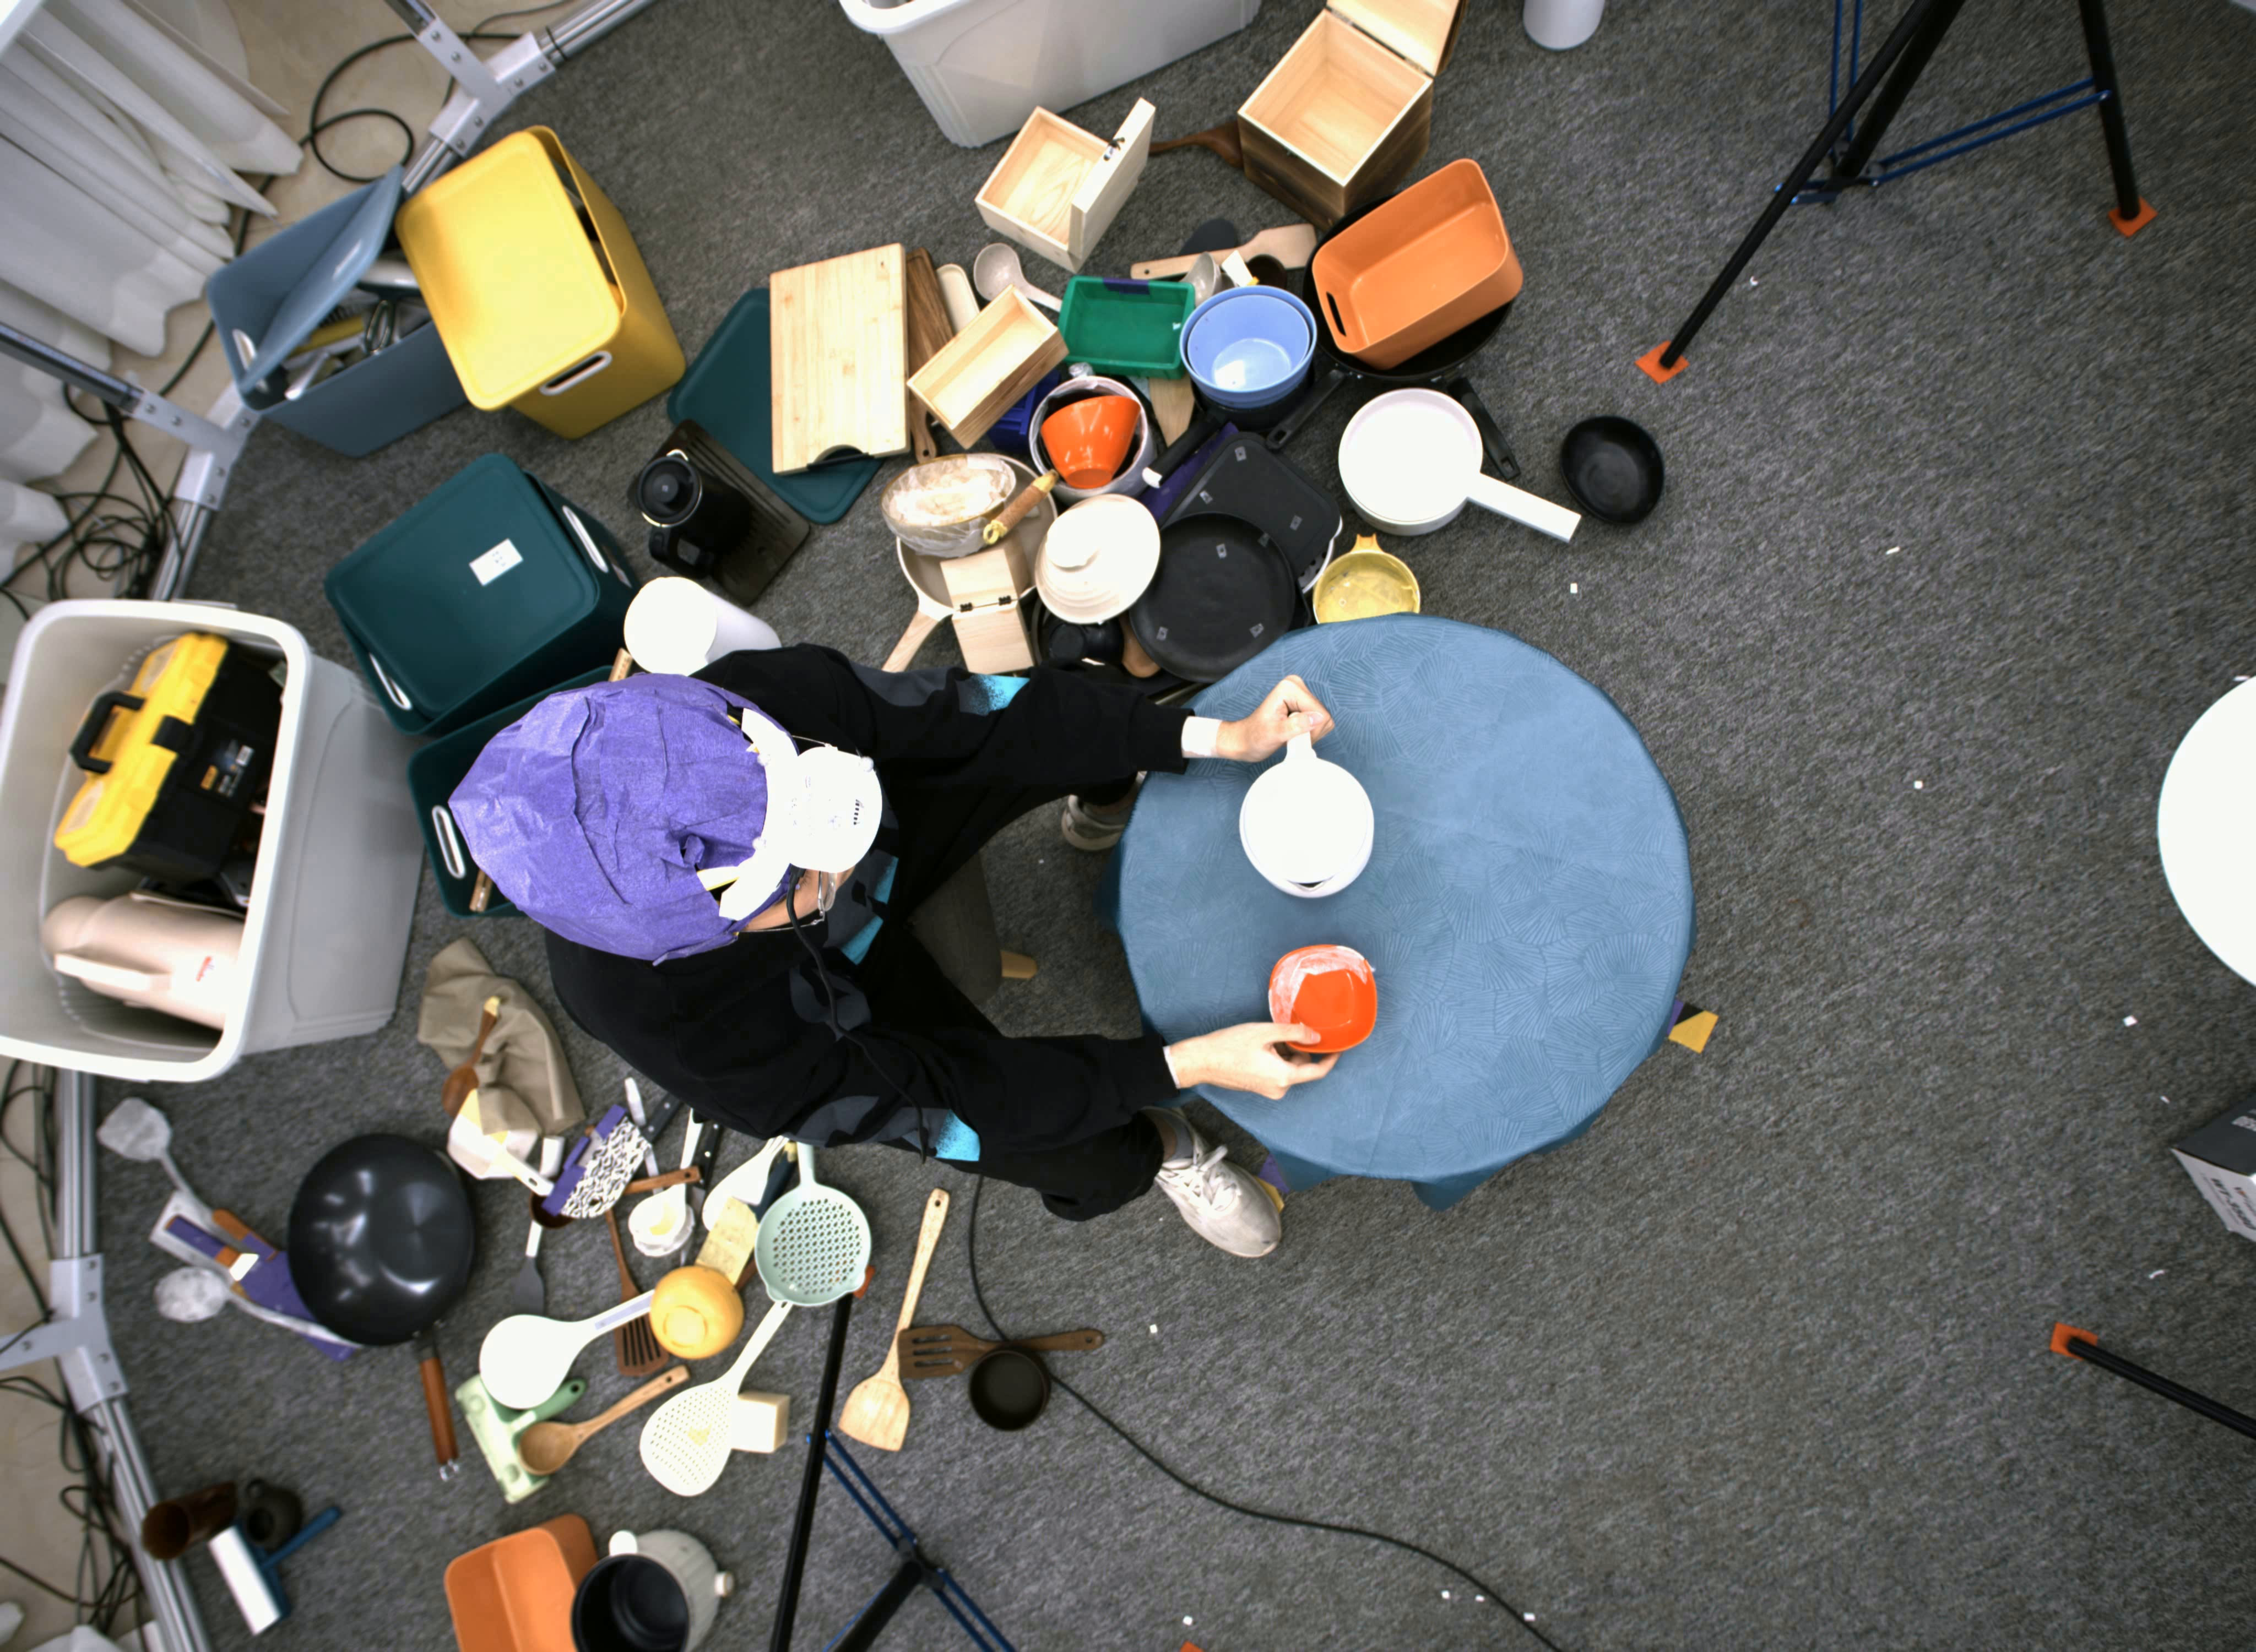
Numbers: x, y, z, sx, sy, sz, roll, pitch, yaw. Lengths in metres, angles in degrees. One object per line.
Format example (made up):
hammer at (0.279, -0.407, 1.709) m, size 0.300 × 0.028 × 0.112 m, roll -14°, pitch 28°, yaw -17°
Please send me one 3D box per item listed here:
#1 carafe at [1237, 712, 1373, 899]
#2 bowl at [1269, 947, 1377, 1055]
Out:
carafe at (0.176, -0.021, 1.391) m, size 0.133 × 0.183 × 0.189 m, roll -7°, pitch 82°, yaw 8°
bowl at (0.201, 0.178, 1.436) m, size 0.119 × 0.051 × 0.119 m, roll 0°, pitch 92°, yaw 5°
